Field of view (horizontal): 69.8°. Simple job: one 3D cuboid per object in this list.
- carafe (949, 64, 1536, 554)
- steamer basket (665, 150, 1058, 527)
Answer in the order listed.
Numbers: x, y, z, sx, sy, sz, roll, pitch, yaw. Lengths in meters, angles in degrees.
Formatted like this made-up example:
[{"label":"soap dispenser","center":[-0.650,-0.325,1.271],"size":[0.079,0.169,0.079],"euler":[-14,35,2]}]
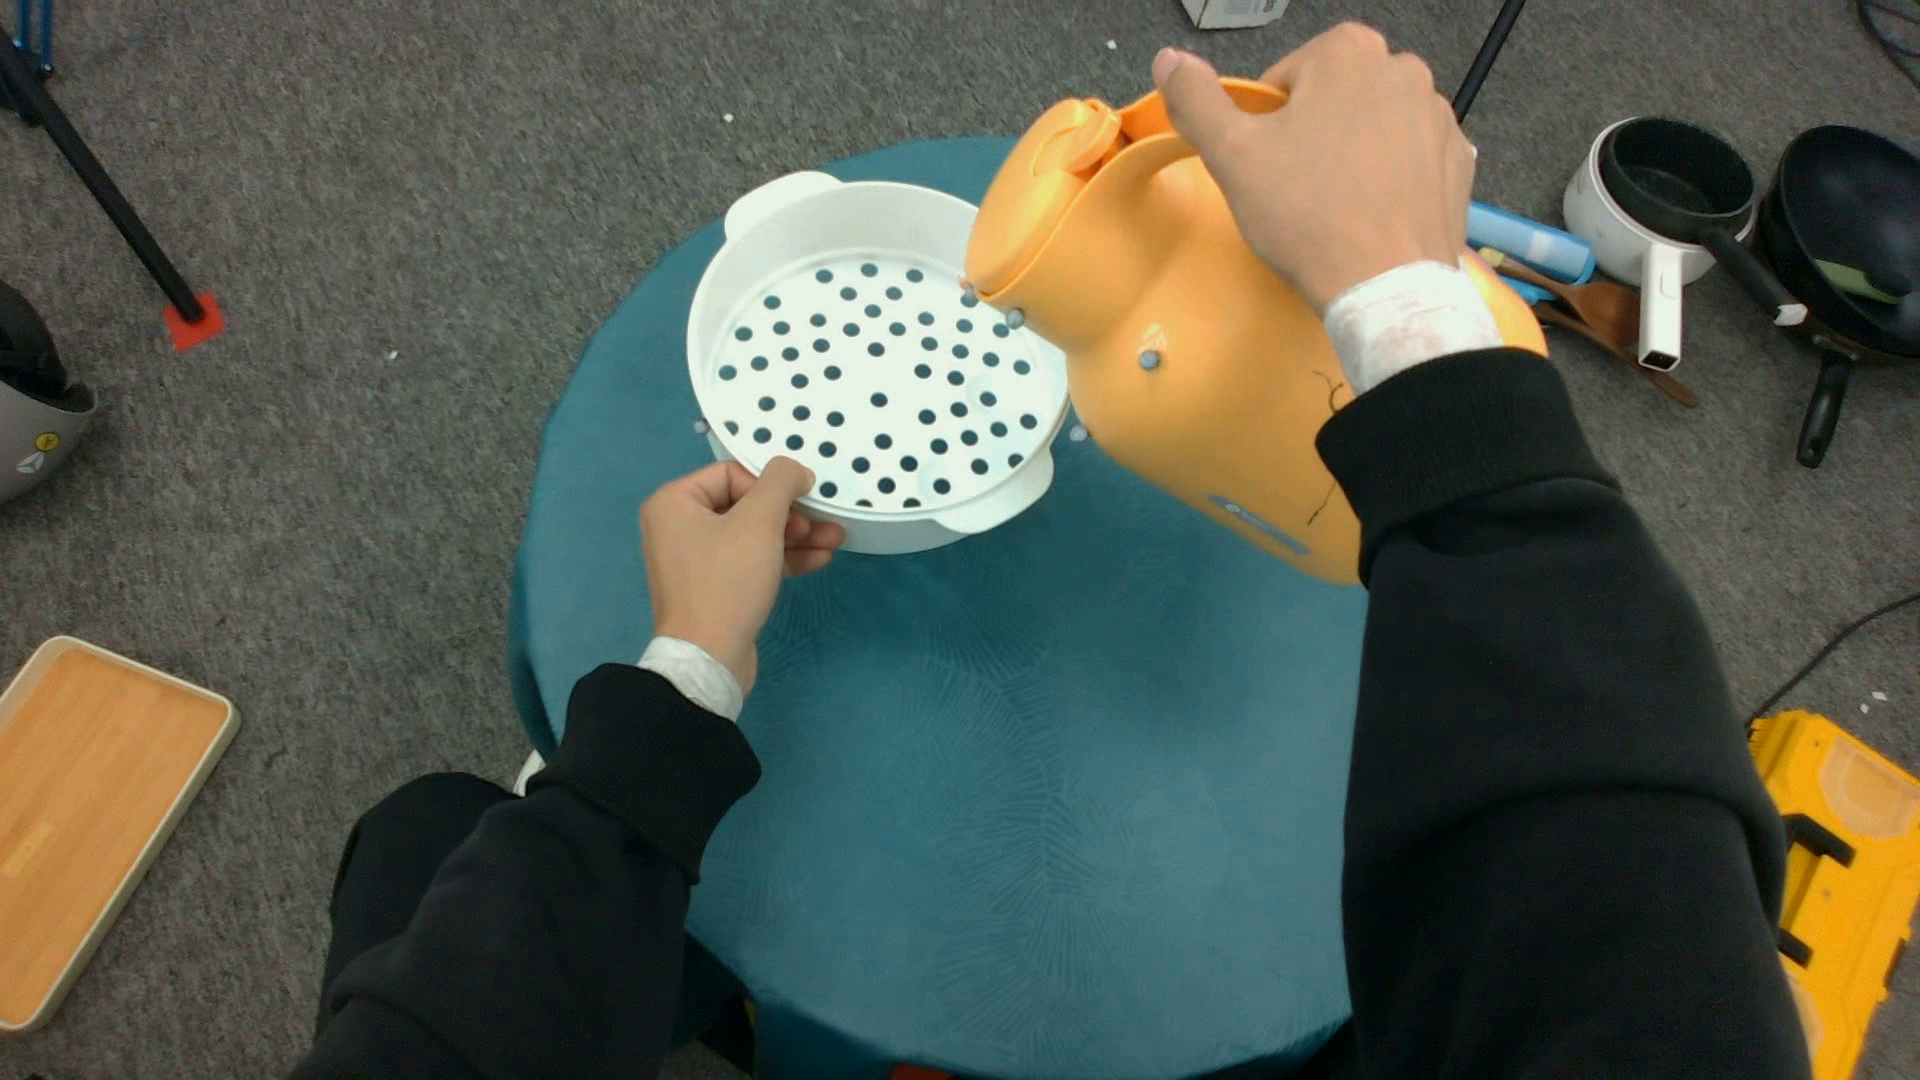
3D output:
[{"label":"carafe","center":[0.131,-0.110,0.616],"size":[0.260,0.201,0.164],"euler":[24,72,-20]},{"label":"steamer basket","center":[-0.052,-0.104,0.732],"size":[0.202,0.069,0.231],"euler":[-32,73,-18]}]
